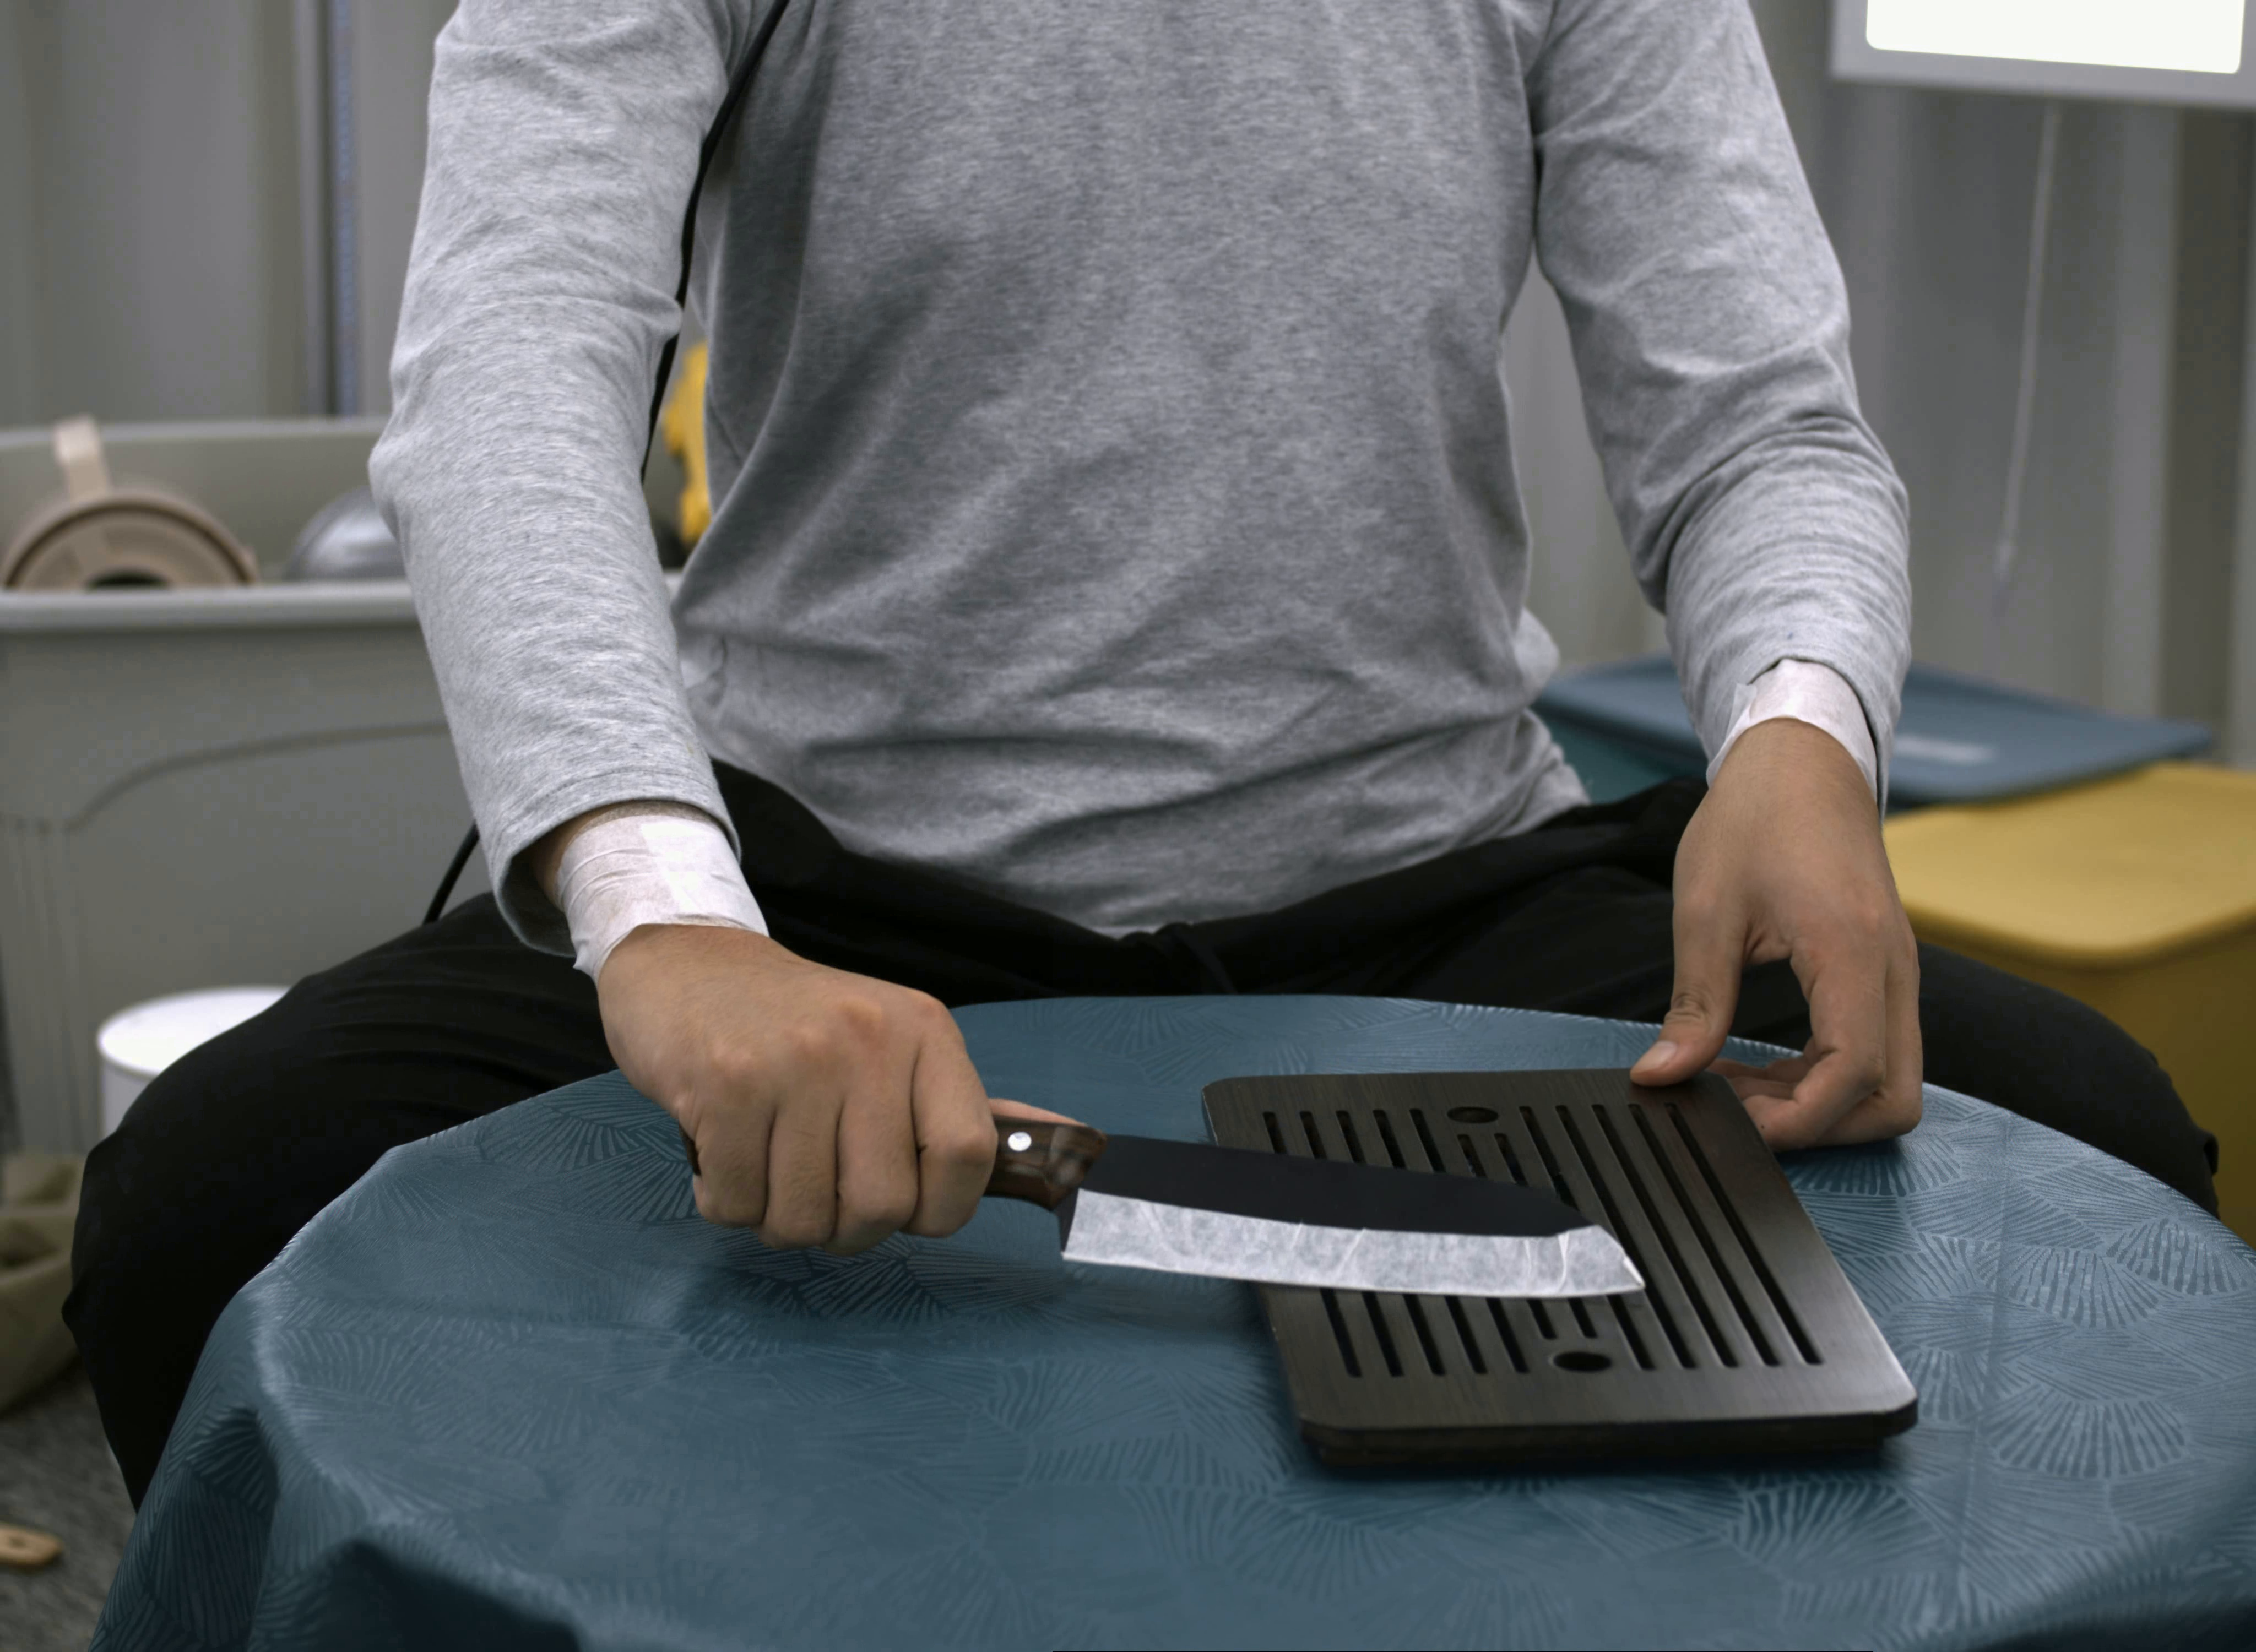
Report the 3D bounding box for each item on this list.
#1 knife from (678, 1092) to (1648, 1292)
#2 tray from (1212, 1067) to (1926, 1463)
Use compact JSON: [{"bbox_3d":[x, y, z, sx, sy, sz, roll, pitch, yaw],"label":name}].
[{"bbox_3d":[0.007,0.107,1.520,0.287,0.020,0.050,7,57,9],"label":"knife"},{"bbox_3d":[0.121,0.126,1.548,0.170,0.019,0.304,-1,15,-4],"label":"tray"}]
